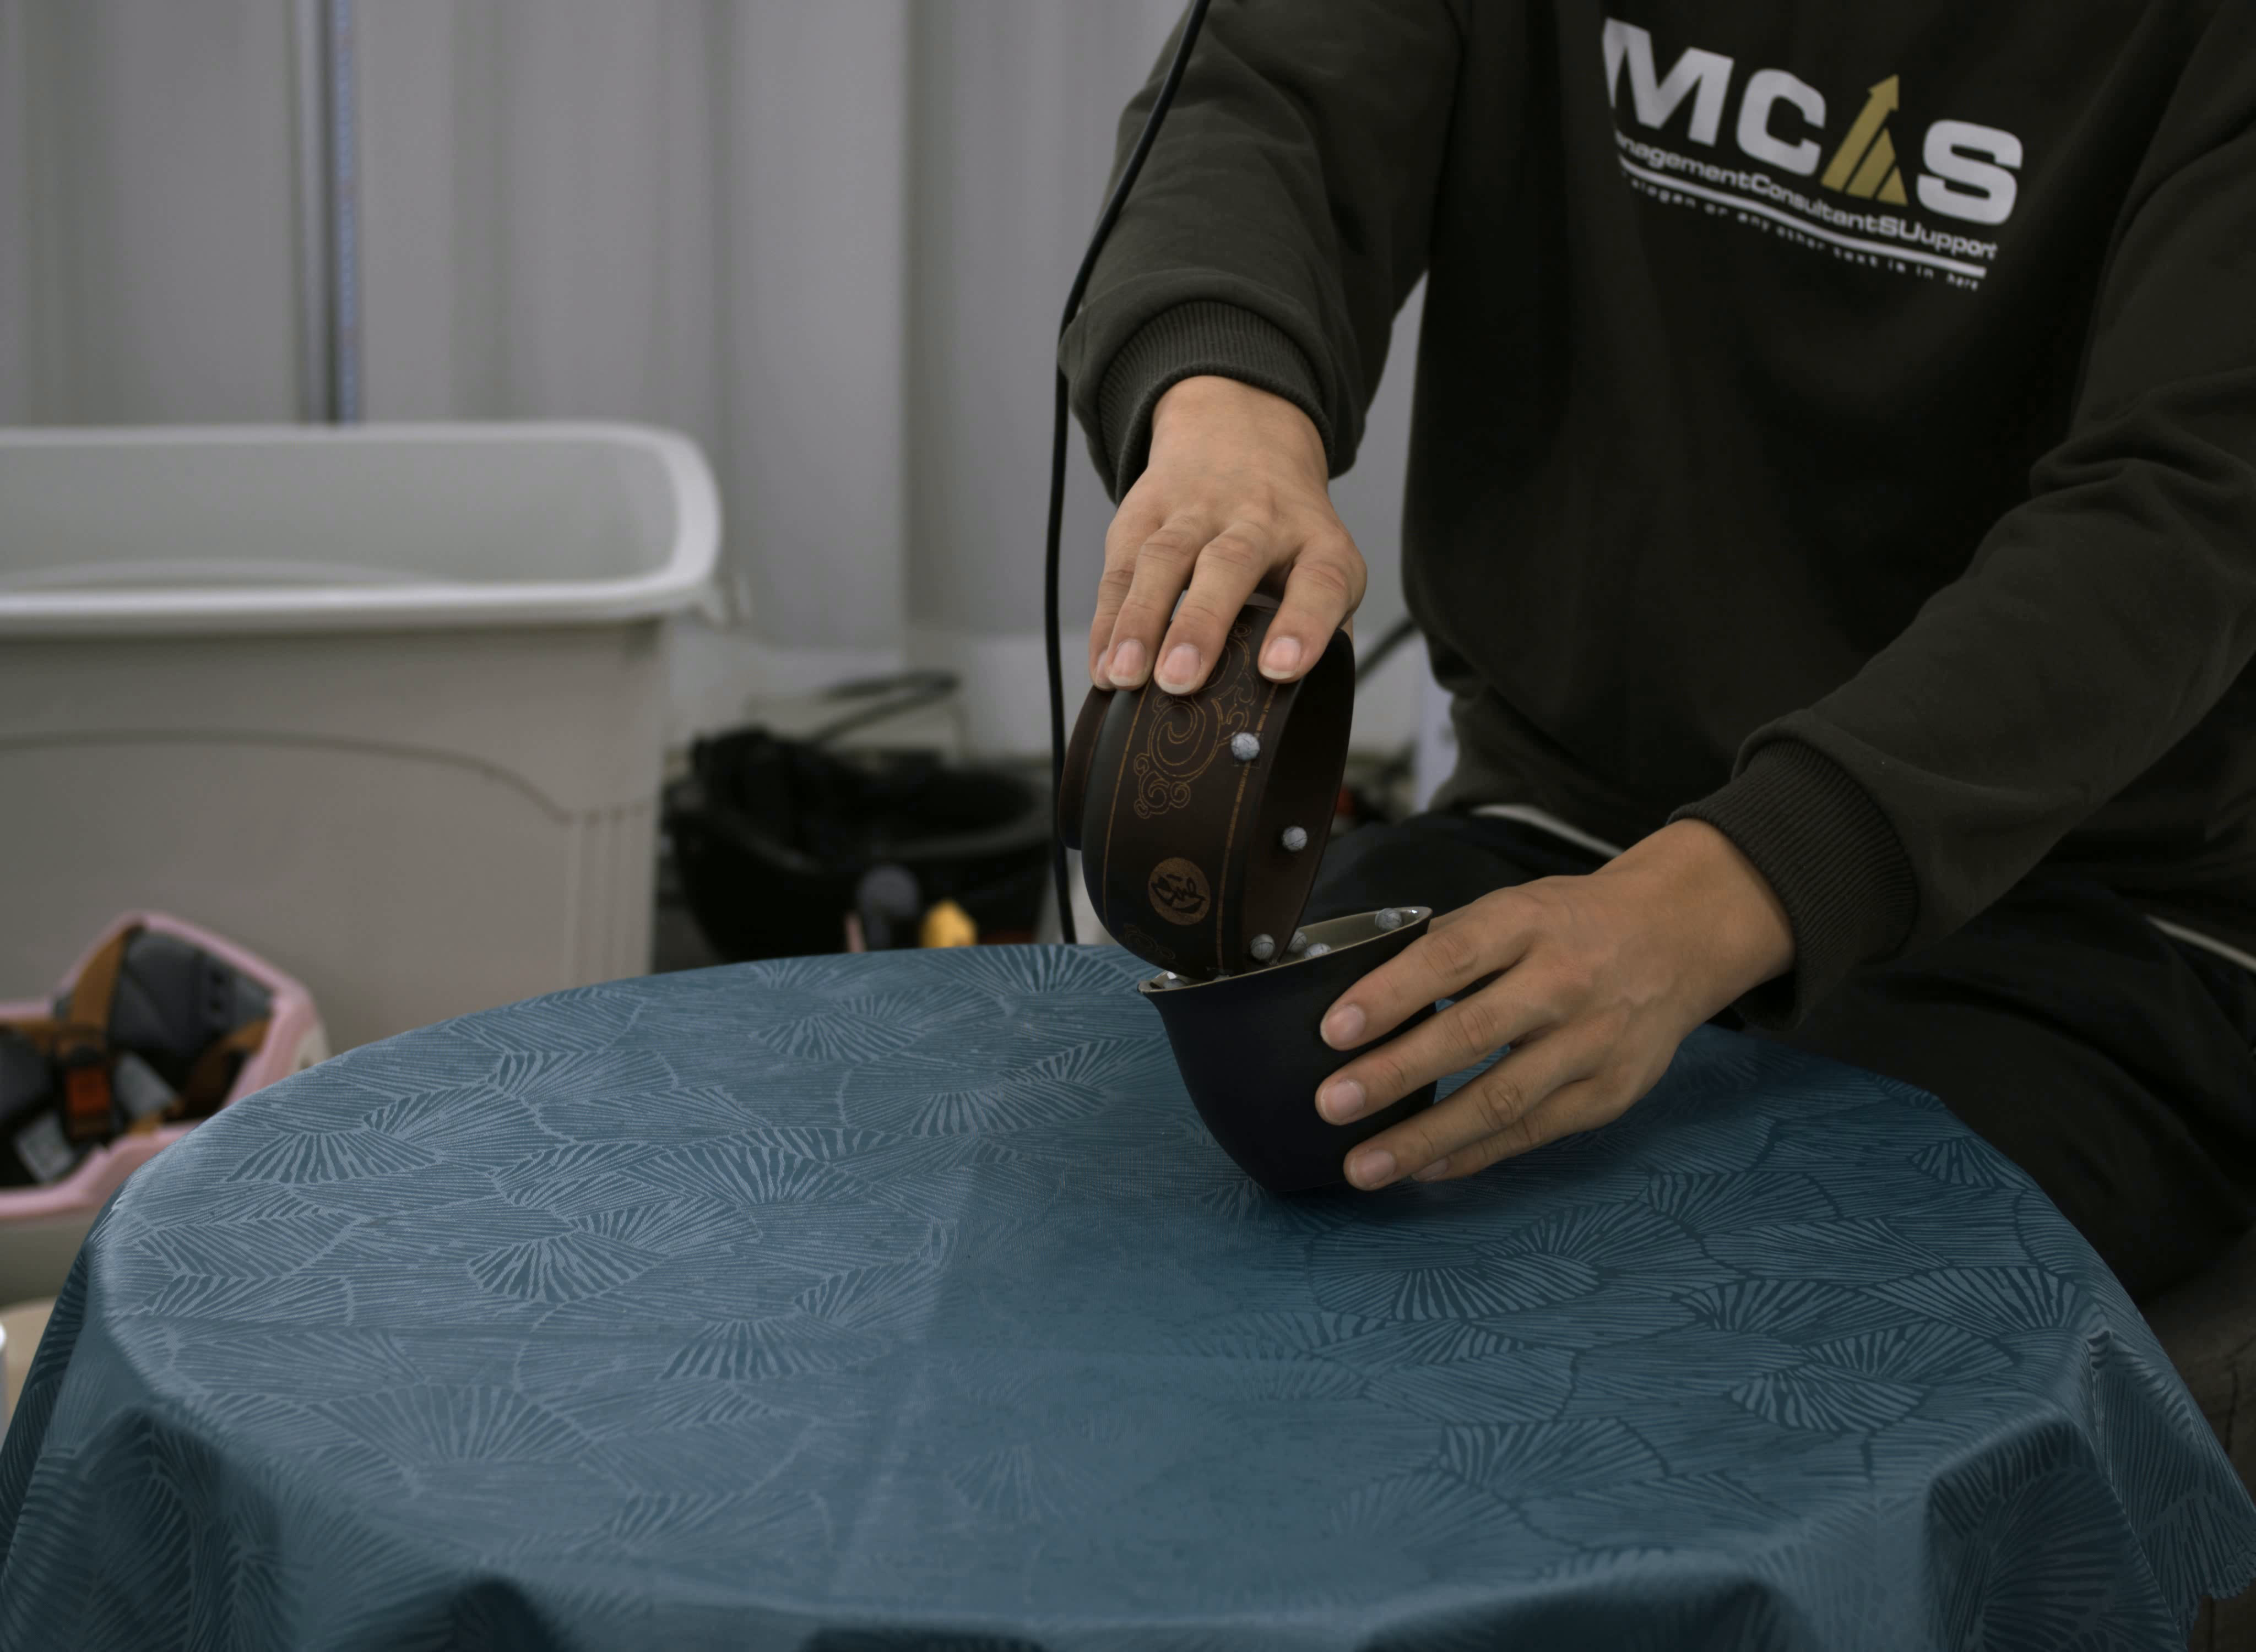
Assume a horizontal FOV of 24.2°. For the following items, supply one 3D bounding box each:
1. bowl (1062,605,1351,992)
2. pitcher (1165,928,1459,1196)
[{"bbox_3d":[0.021,-0.012,1.620,0.069,0.119,0.118,12,18,12],"label":"bowl"},{"bbox_3d":[0.059,0.073,1.627,0.095,0.072,0.084,-13,9,40],"label":"pitcher"}]
